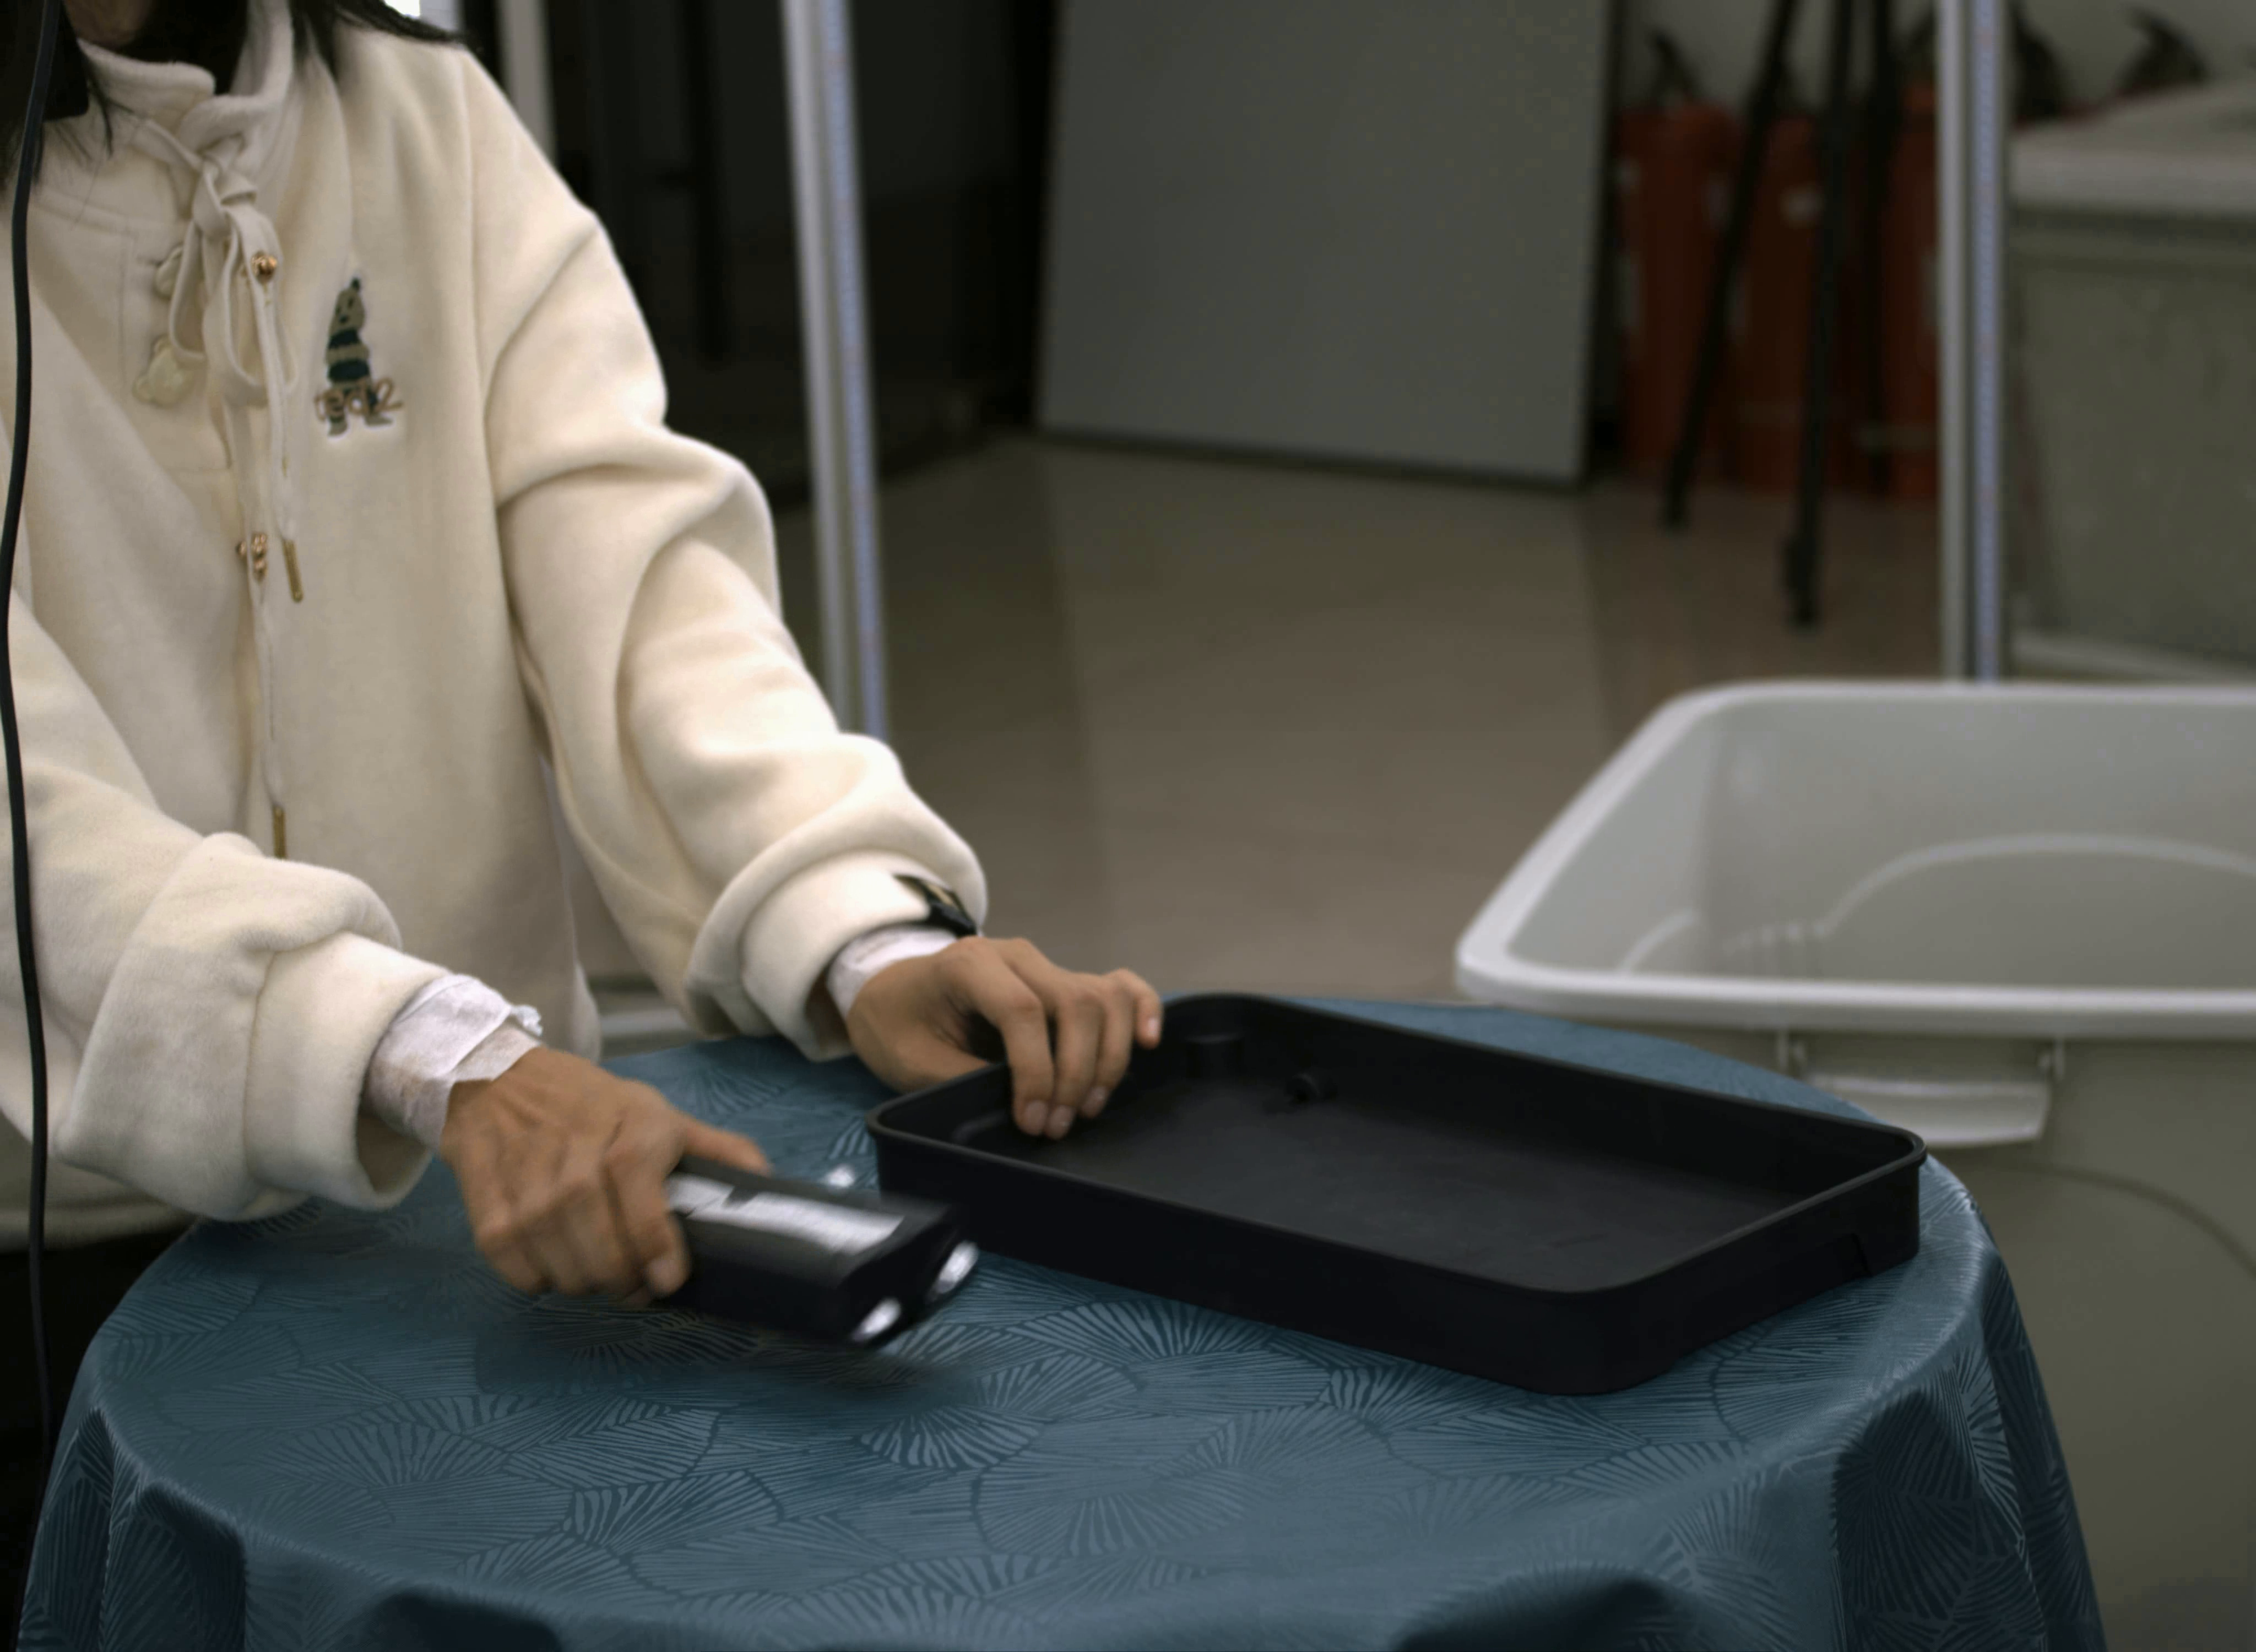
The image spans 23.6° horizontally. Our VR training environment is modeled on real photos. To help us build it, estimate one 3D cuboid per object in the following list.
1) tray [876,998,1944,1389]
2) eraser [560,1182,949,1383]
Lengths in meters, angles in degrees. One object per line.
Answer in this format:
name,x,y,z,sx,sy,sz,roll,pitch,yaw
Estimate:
tray,0.086,0.111,1.704,0.321,0.037,0.180,9,18,43
eraser,-0.112,0.136,1.628,0.052,0.031,0.127,-20,21,-40
